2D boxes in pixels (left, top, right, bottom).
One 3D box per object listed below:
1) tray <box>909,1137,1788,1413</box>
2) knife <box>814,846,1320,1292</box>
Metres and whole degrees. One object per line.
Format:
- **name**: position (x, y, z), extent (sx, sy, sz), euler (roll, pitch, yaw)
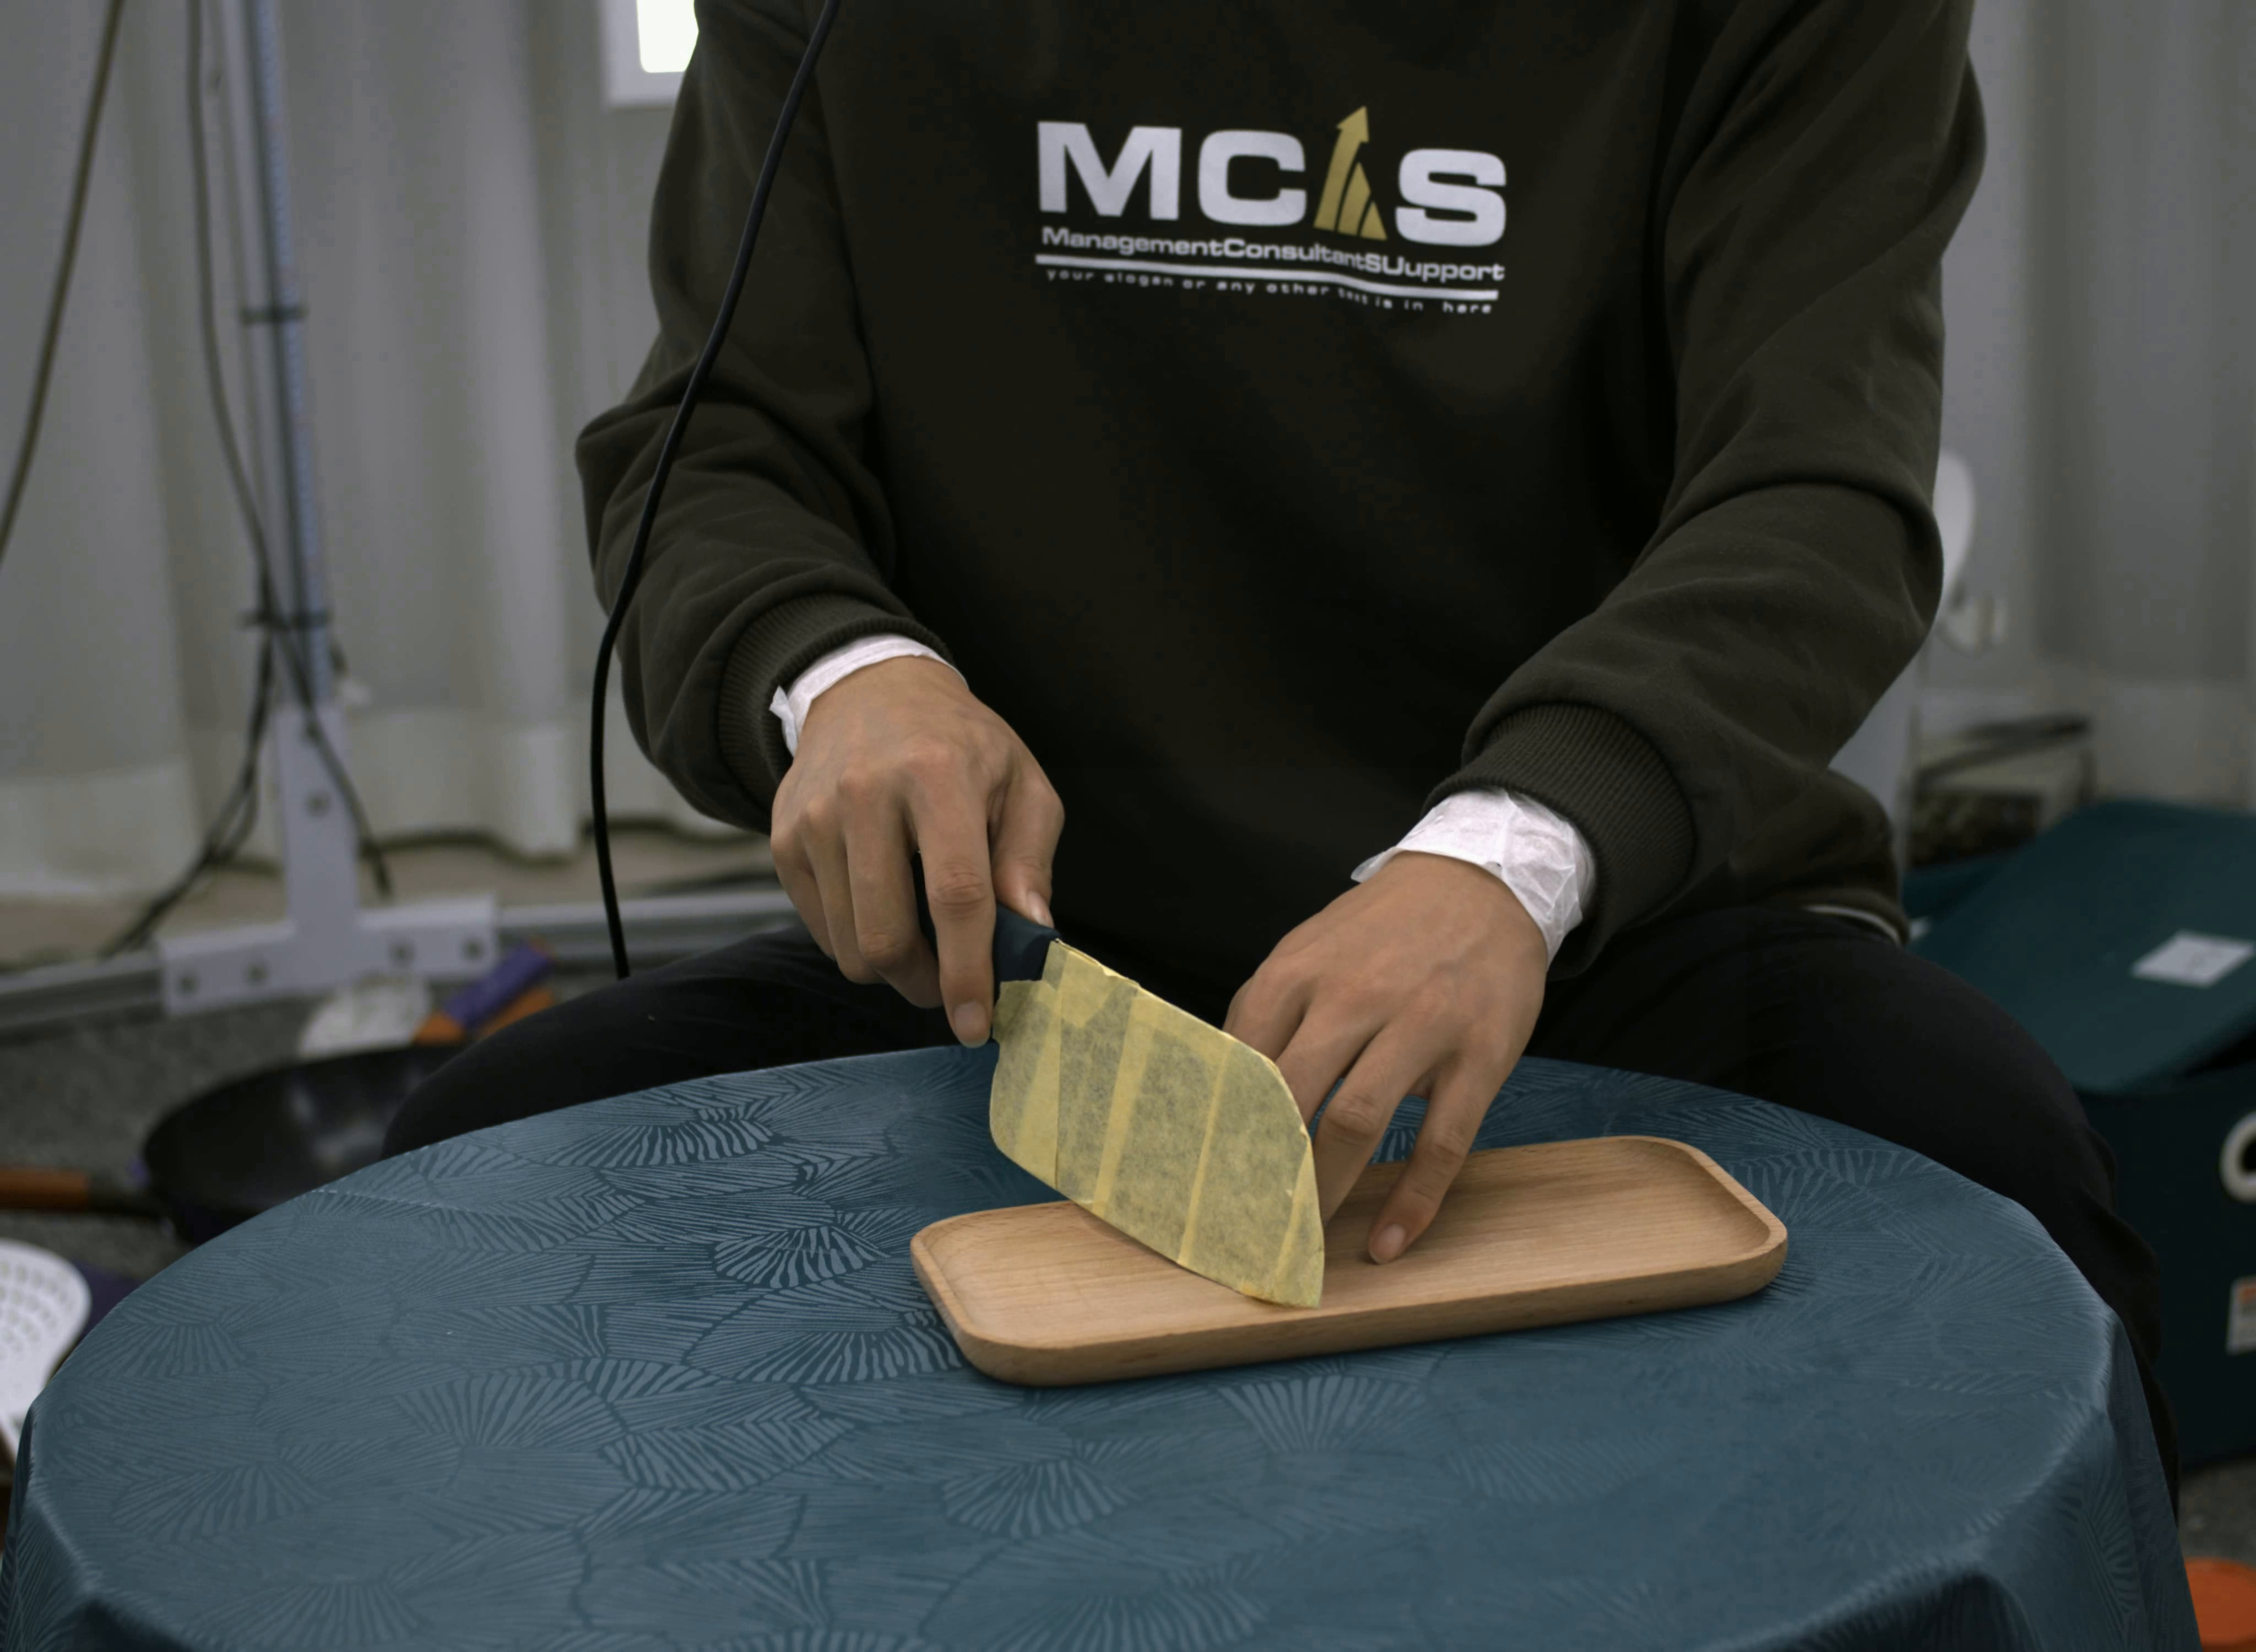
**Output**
- **tray**: position (0.065, 0.132, 1.621), extent (0.250, 0.023, 0.131), euler (-9, 13, -11)
- **knife**: position (-0.022, 0.070, 1.679), extent (0.027, 0.081, 0.292), euler (7, 15, -36)
